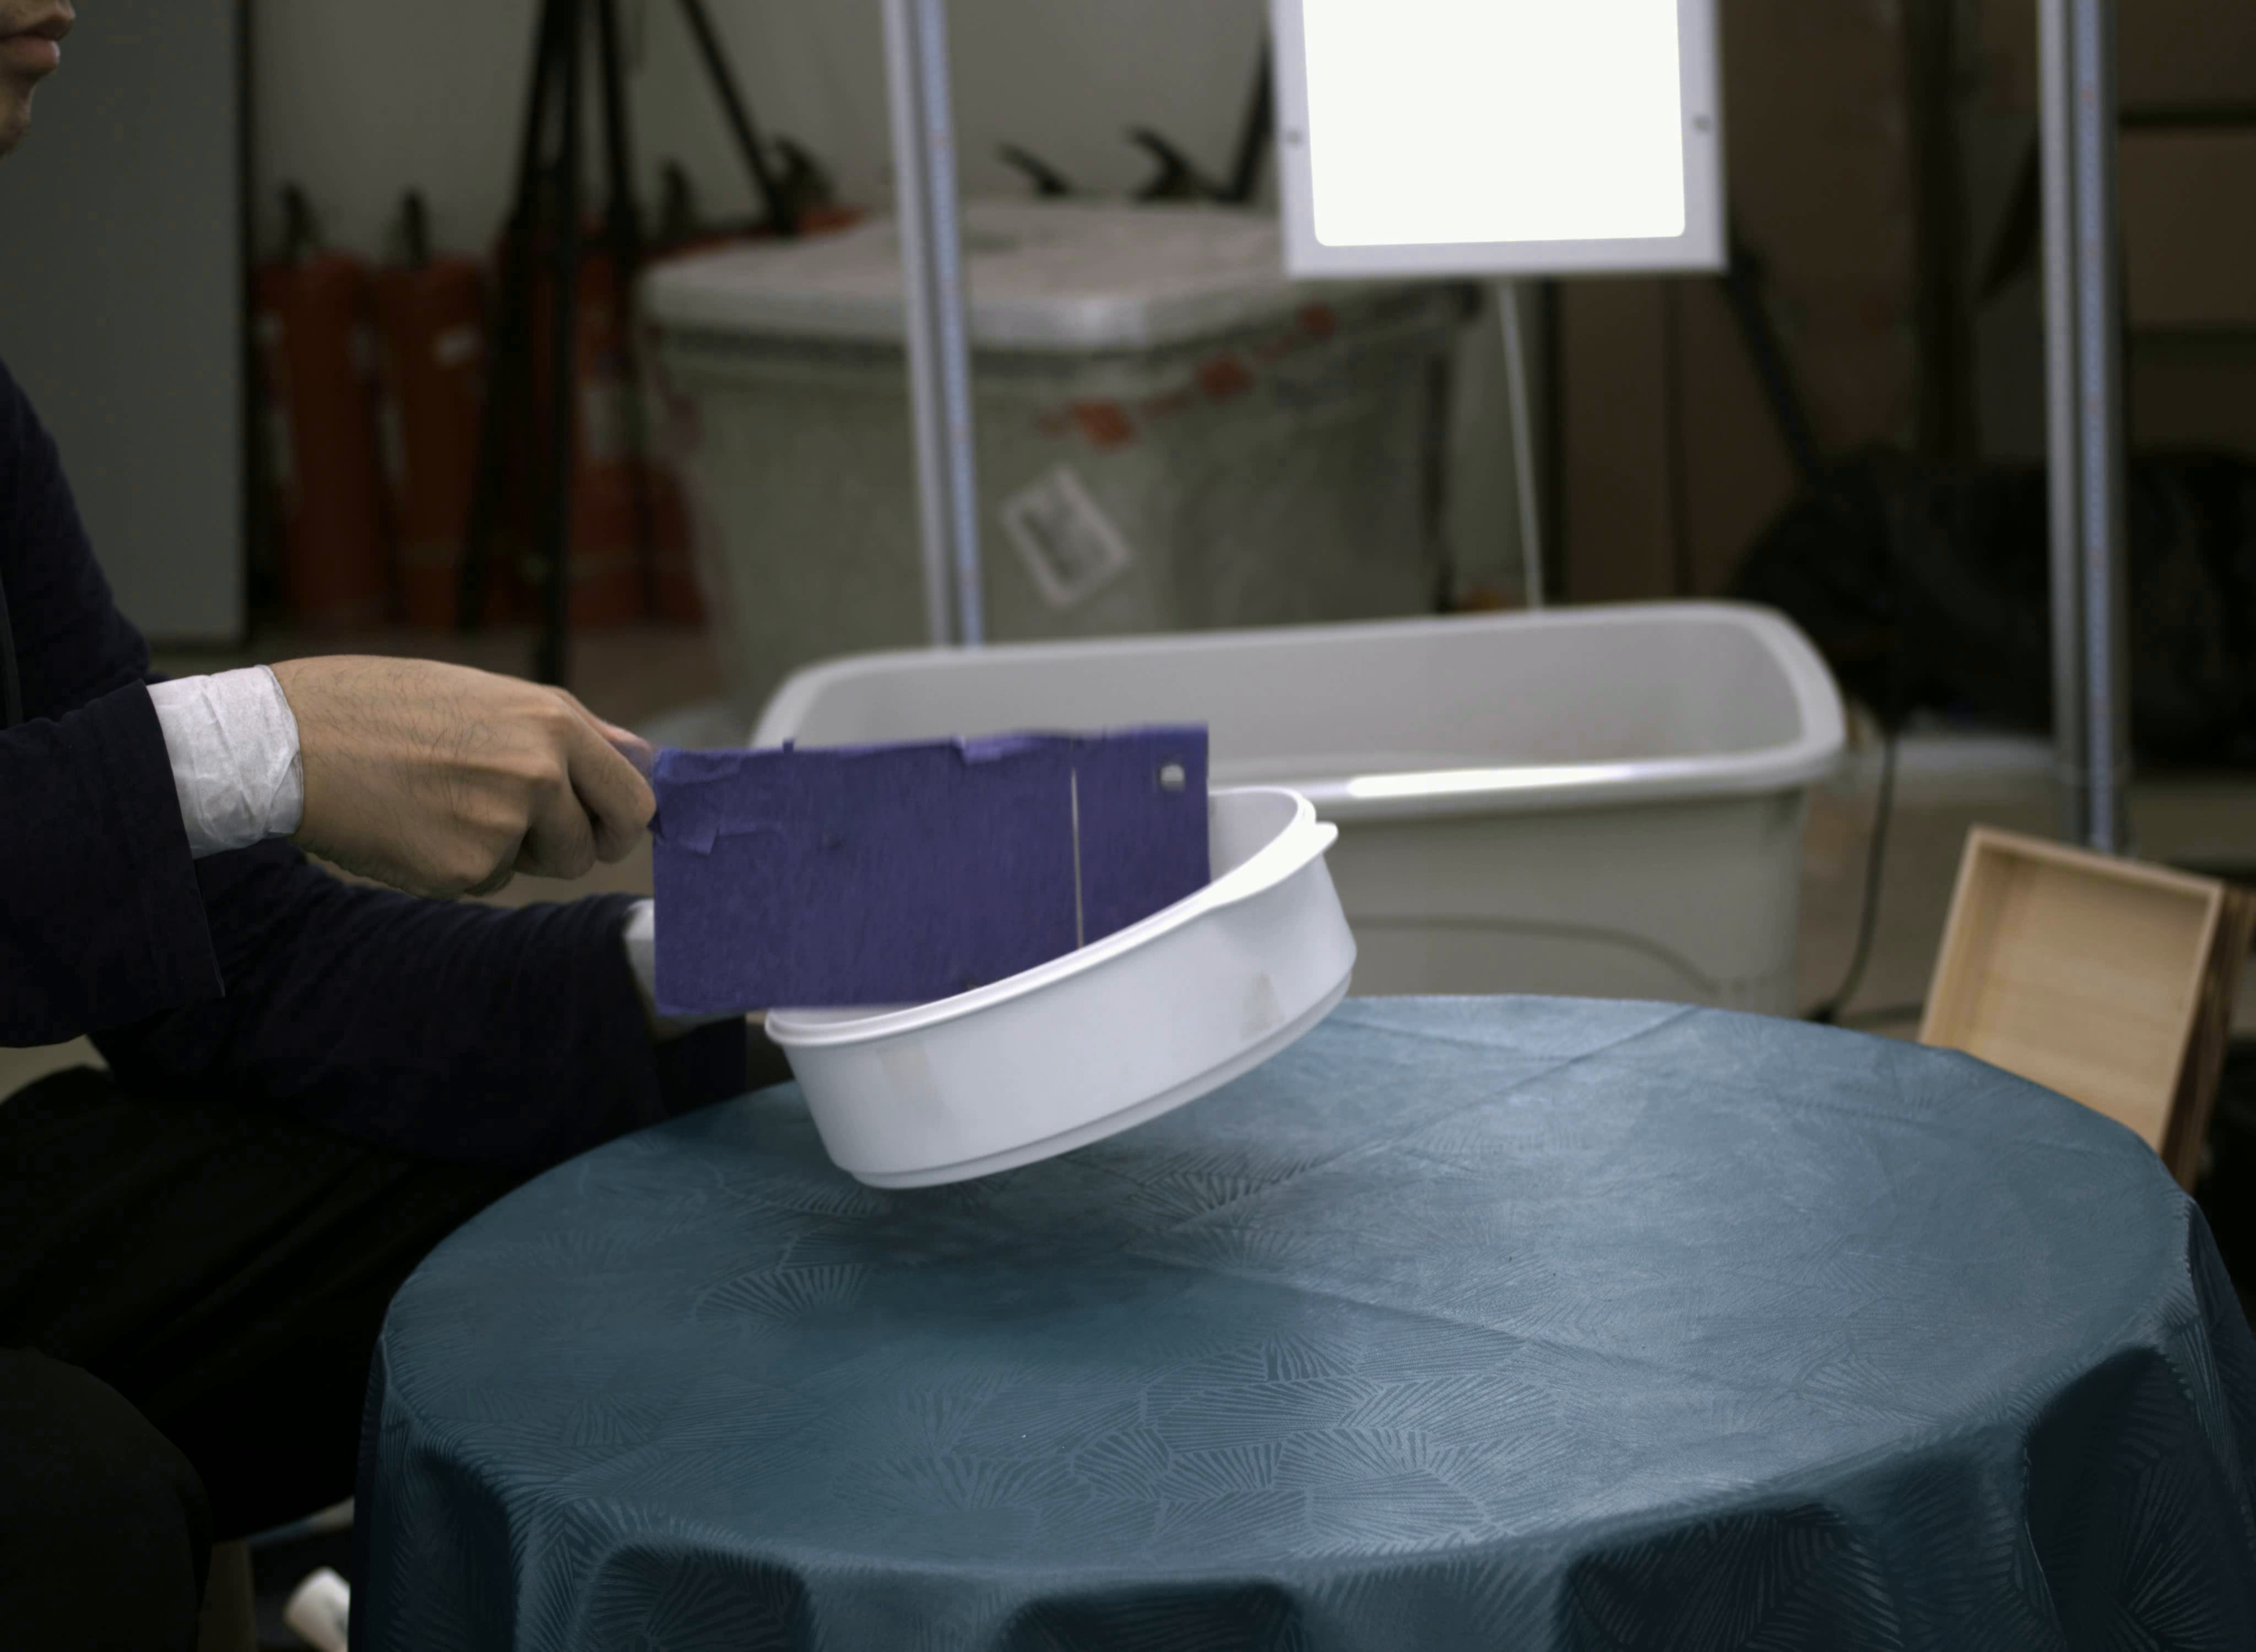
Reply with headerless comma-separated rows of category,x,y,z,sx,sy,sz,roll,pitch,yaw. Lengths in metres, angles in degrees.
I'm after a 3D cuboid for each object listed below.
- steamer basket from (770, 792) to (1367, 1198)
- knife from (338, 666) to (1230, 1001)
steamer basket,-0.016,0.059,1.869,0.236,0.069,0.197,-16,12,38
knife,-0.109,0.010,1.863,0.310,0.104,0.032,-6,8,-19
